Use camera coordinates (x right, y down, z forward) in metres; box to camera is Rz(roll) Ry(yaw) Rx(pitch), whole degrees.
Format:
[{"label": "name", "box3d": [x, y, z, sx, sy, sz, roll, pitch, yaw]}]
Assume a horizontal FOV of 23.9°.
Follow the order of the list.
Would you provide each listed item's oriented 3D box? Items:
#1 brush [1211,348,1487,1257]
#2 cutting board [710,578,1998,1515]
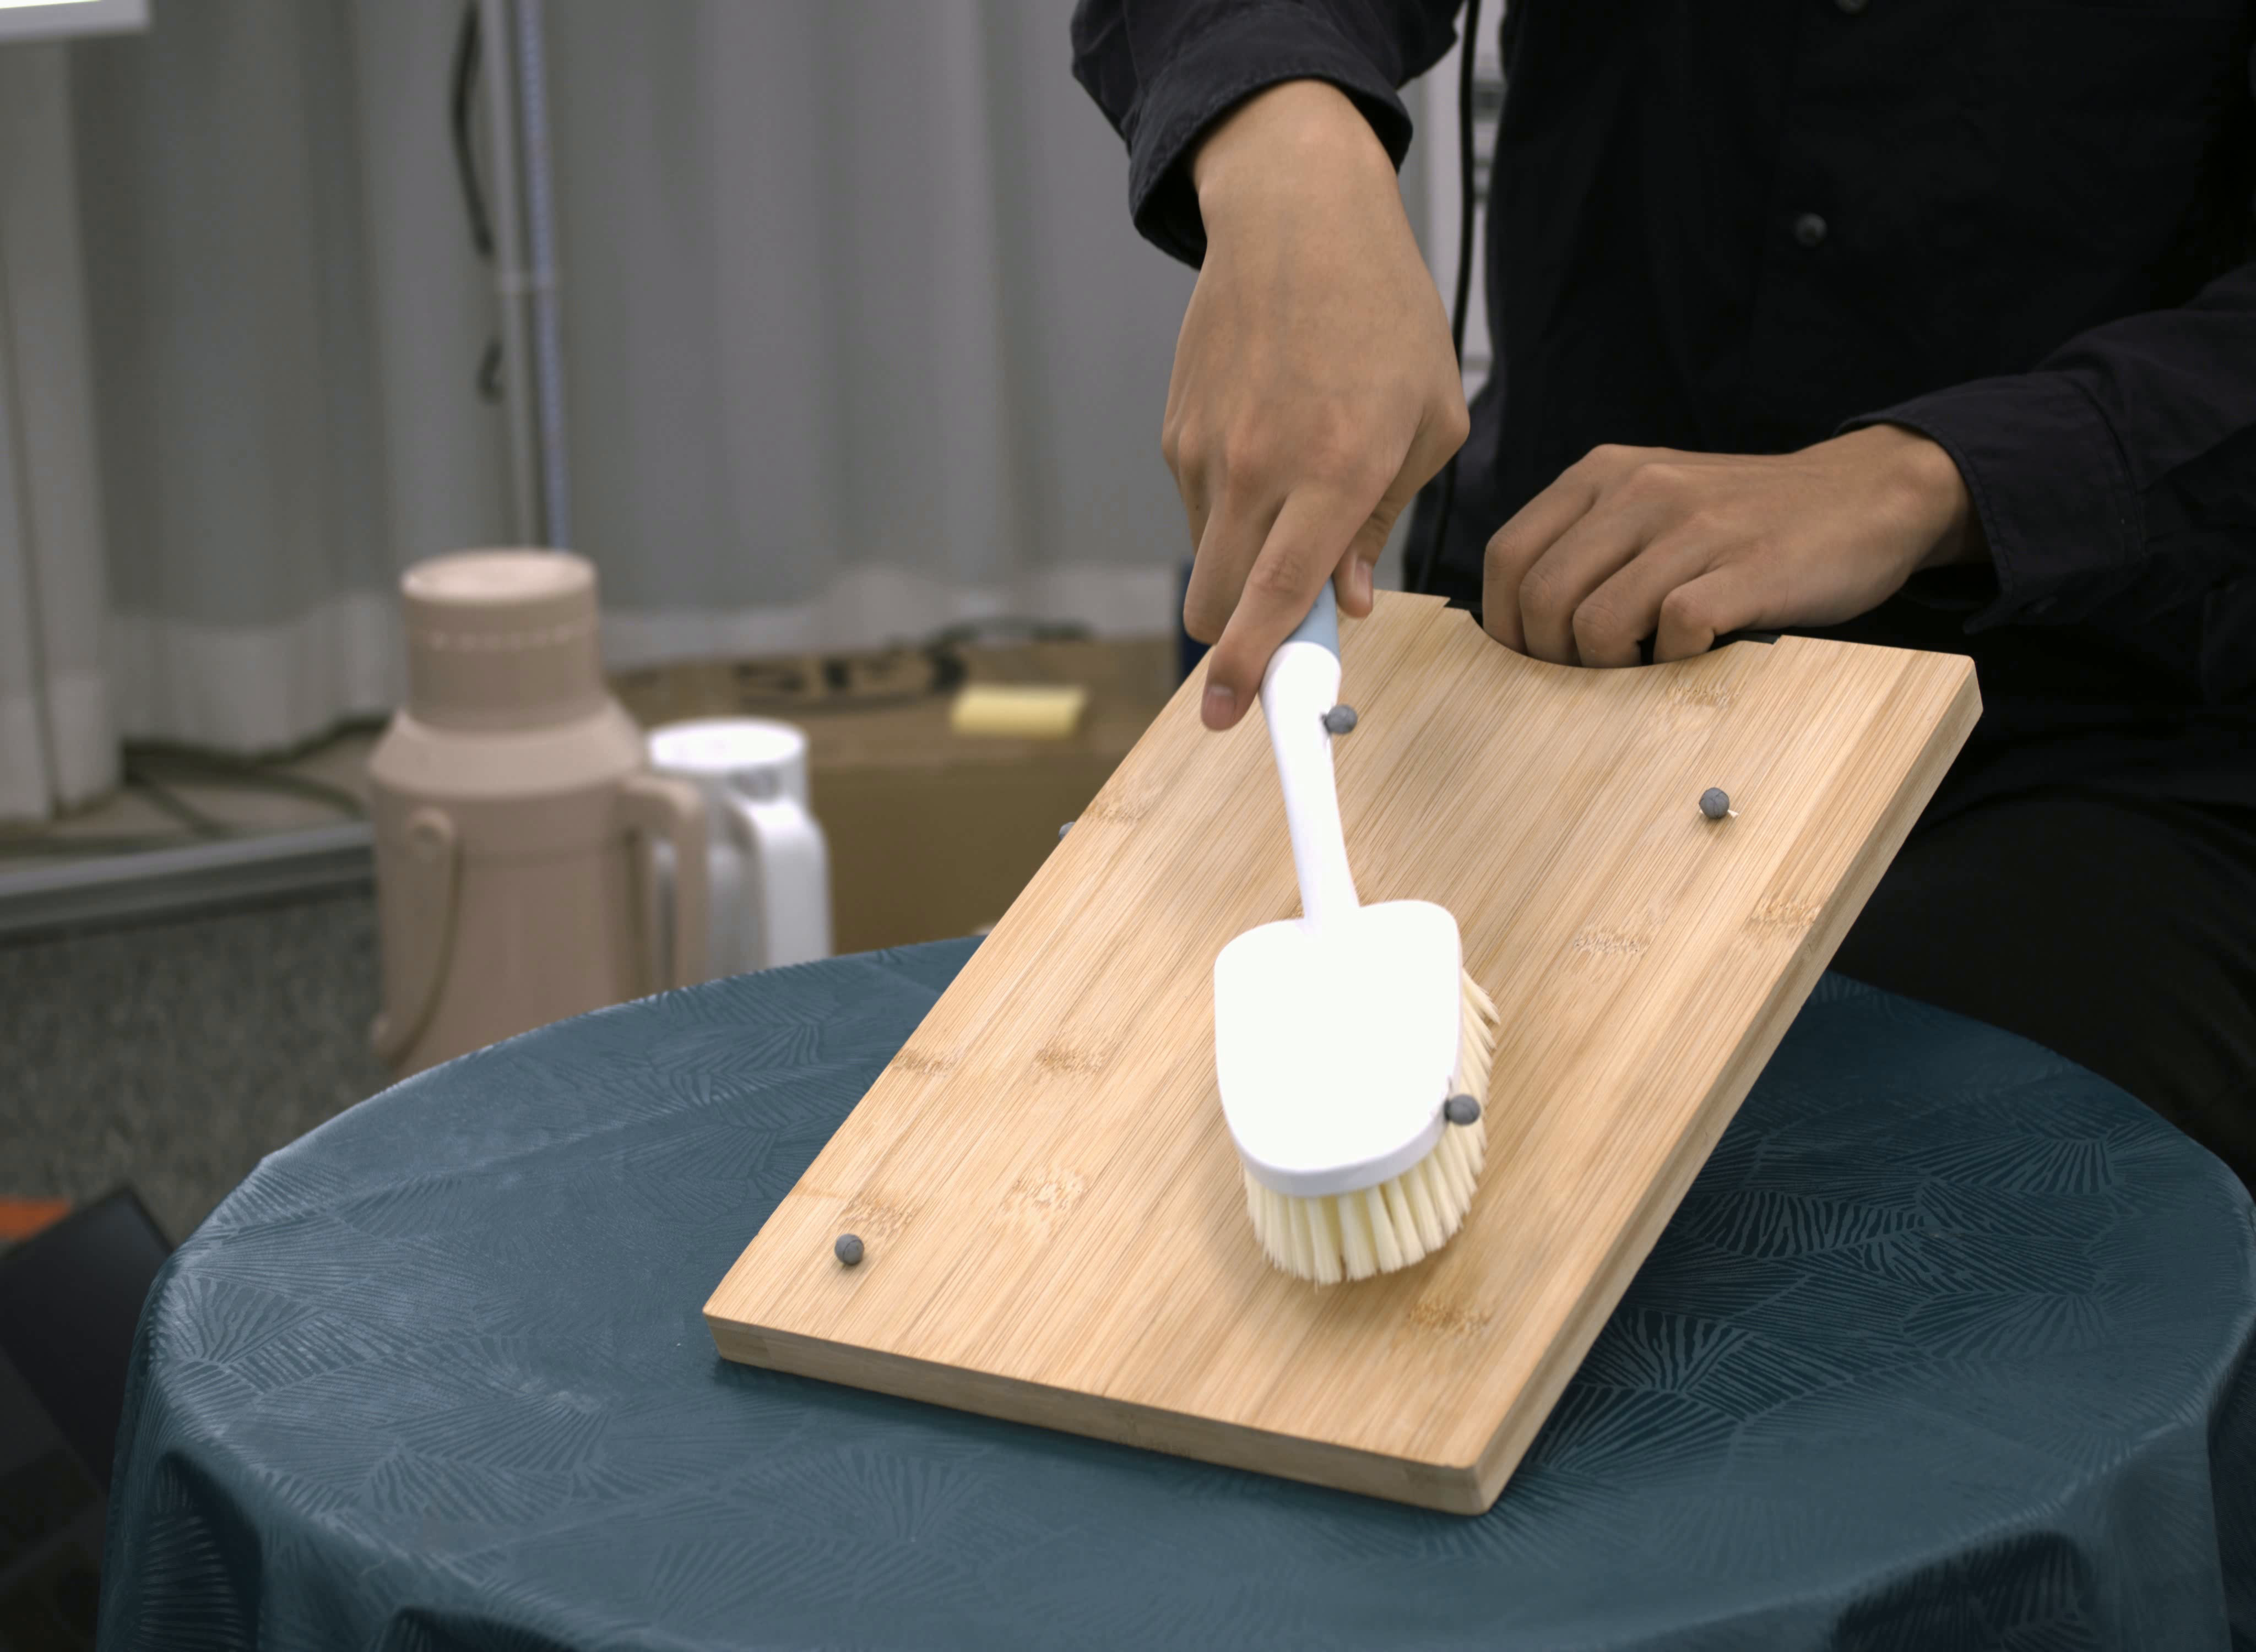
[{"label": "brush", "box3d": [0.061, -0.003, 1.481, 0.081, 0.085, 0.329, 16, 42, -17]}, {"label": "cutting board", "box3d": [0.068, 0.048, 1.489, 0.255, 0.023, 0.346, 7, 42, 31]}]
